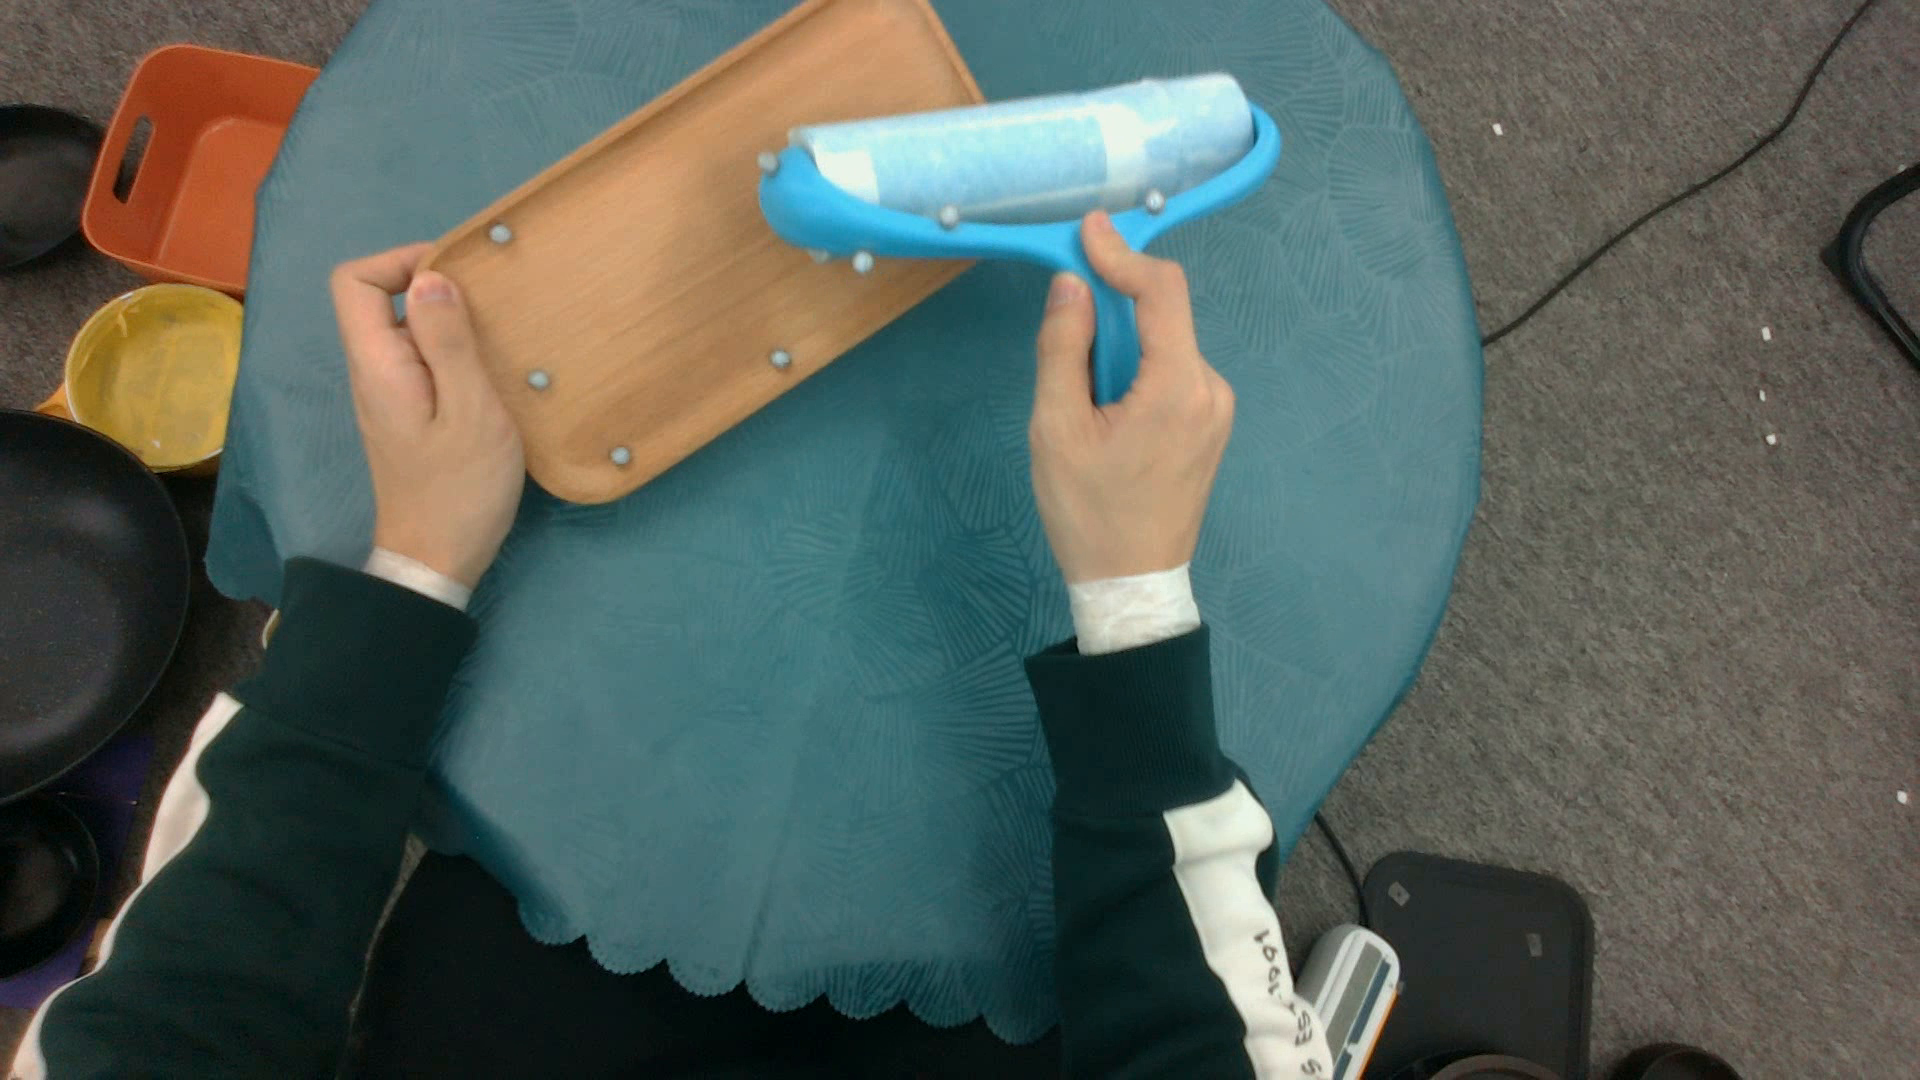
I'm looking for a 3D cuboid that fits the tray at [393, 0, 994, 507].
[{"bbox_3d":[-0.105,-0.126,0.585,0.251,0.023,0.130,-35,113,-6],"label":"tray"}]

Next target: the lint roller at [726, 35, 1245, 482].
[{"bbox_3d":[0.037,-0.116,0.560,0.229,0.067,0.180,-18,77,-23],"label":"lint roller"}]
